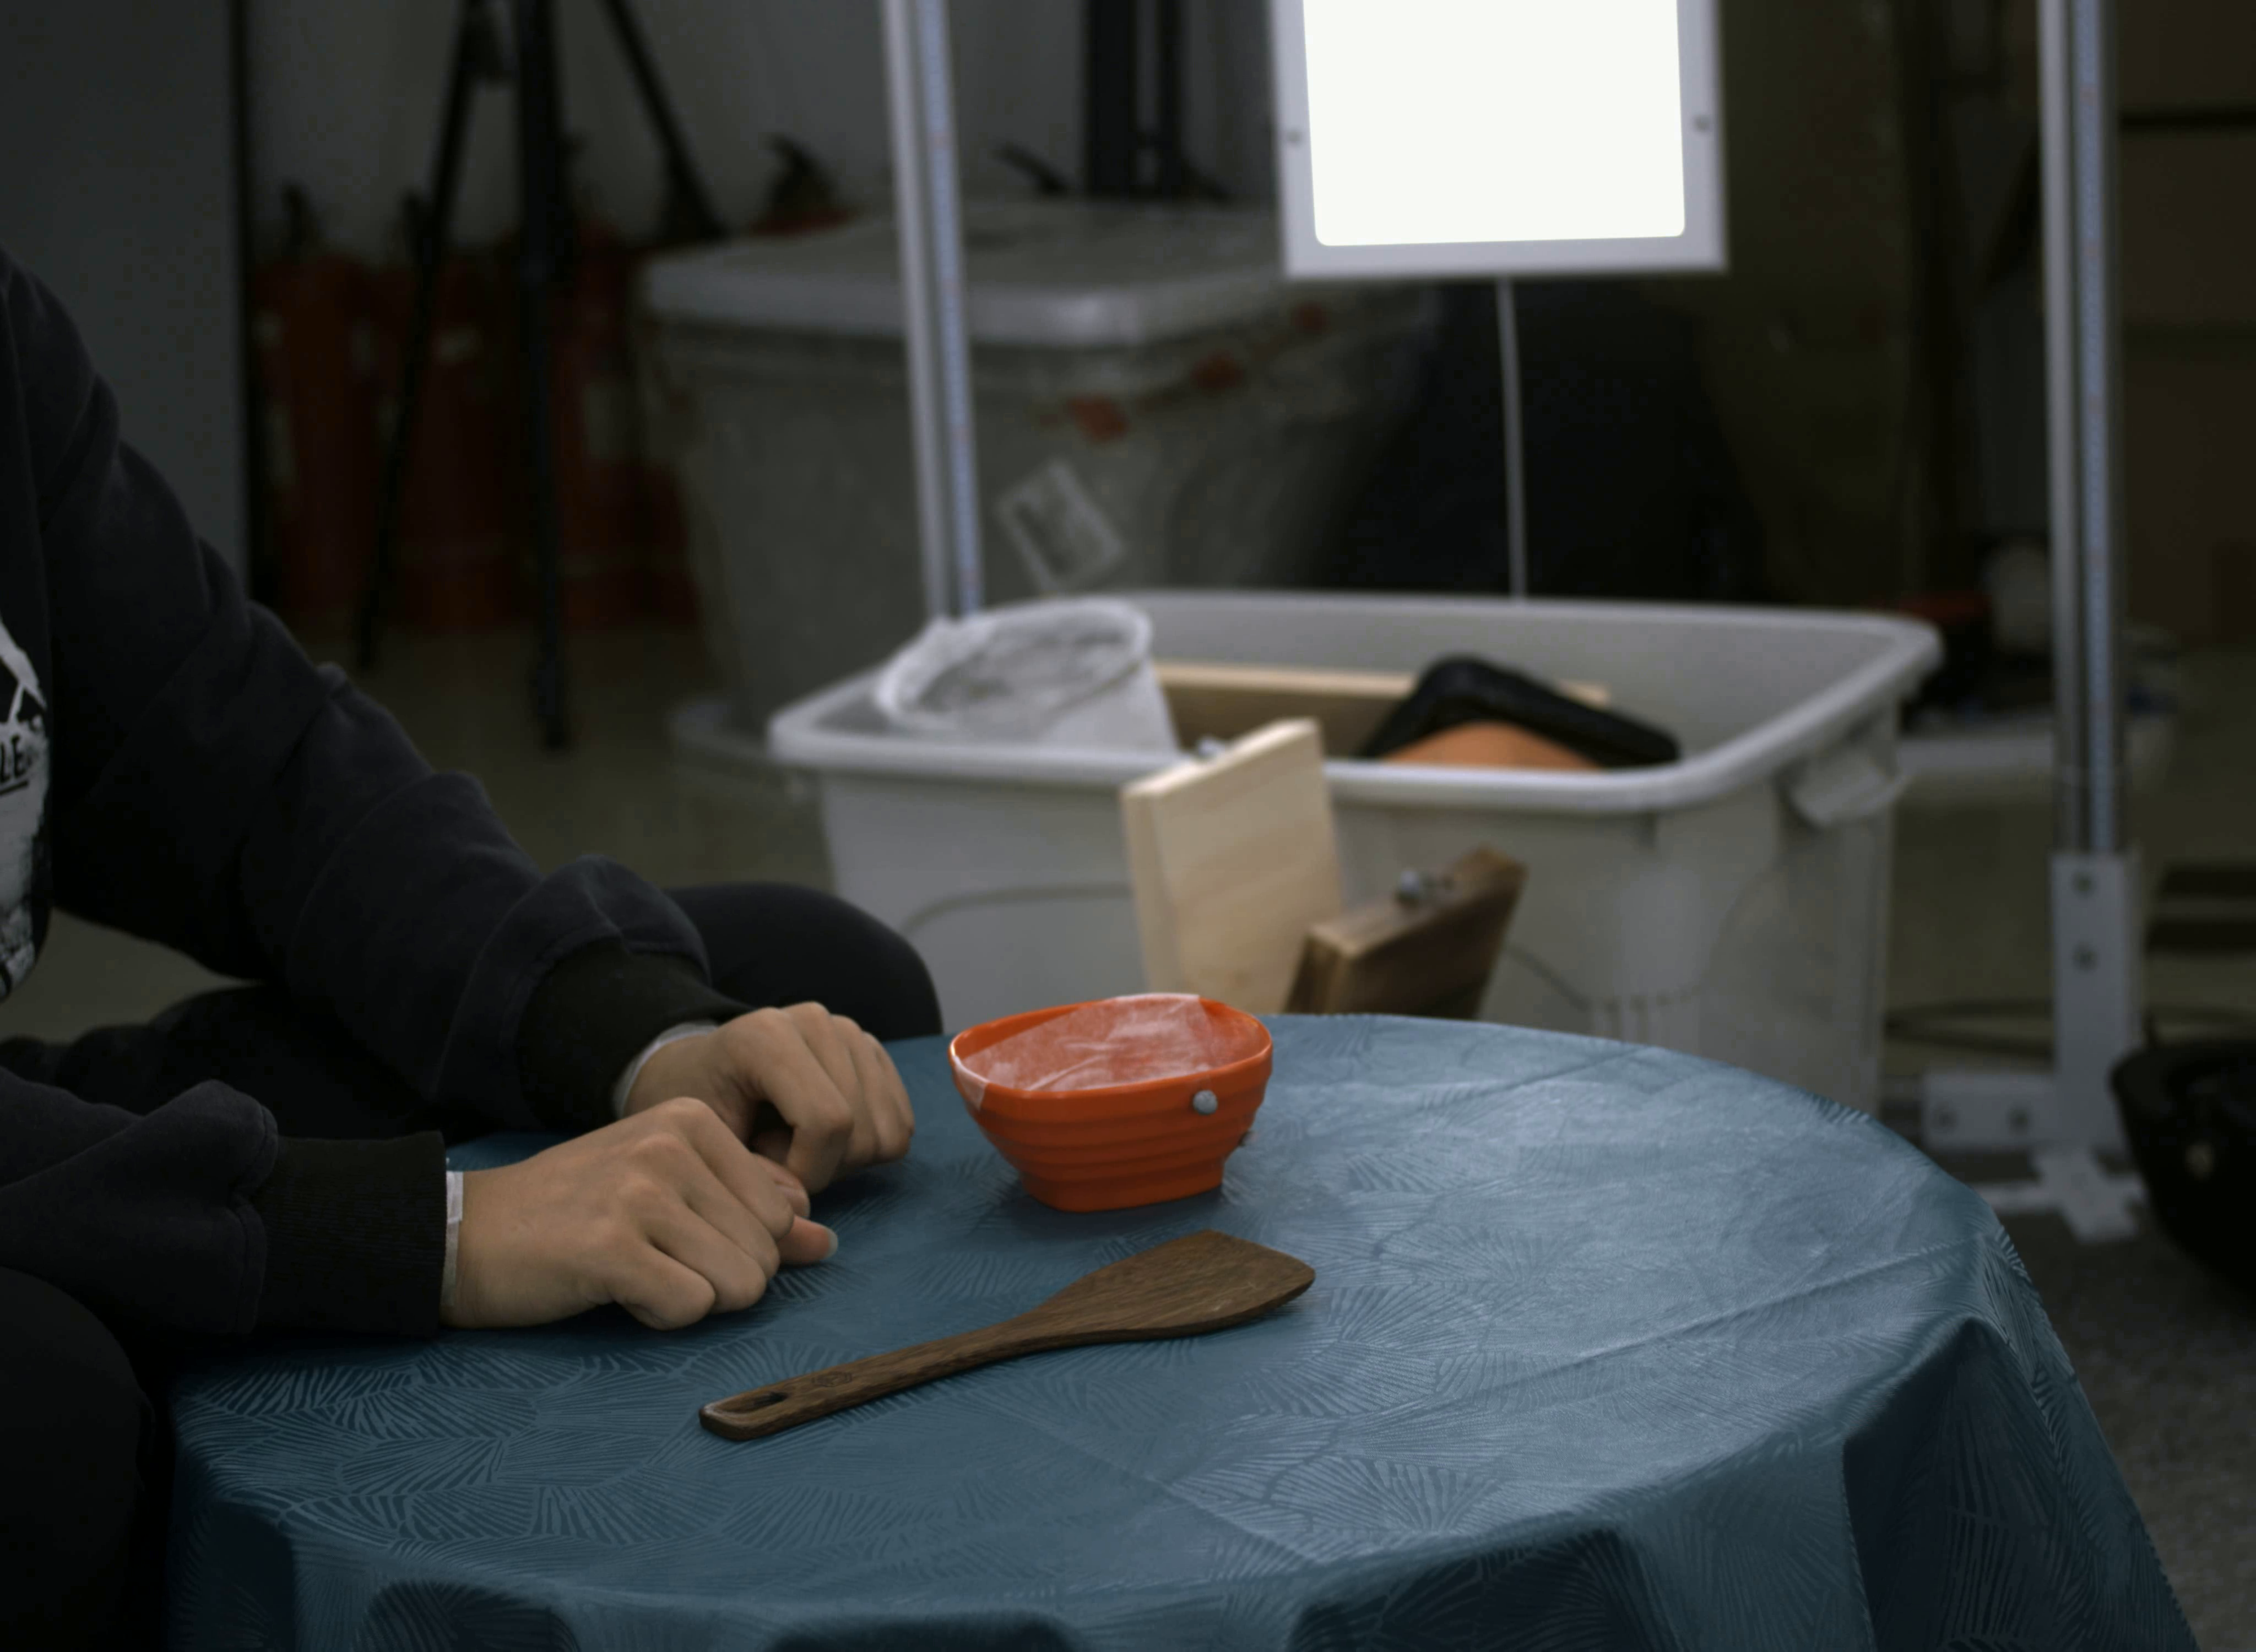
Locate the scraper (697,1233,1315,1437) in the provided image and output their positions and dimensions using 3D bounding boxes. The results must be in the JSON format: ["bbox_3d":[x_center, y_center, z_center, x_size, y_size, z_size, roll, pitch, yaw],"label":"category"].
[{"bbox_3d":[-0.041,0.163,1.745,0.206,0.011,0.077,-13,15,-29],"label":"scraper"}]

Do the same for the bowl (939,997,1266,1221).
[{"bbox_3d":[-0.008,0.101,1.908,0.118,0.051,0.119,-3,16,0],"label":"bowl"}]
